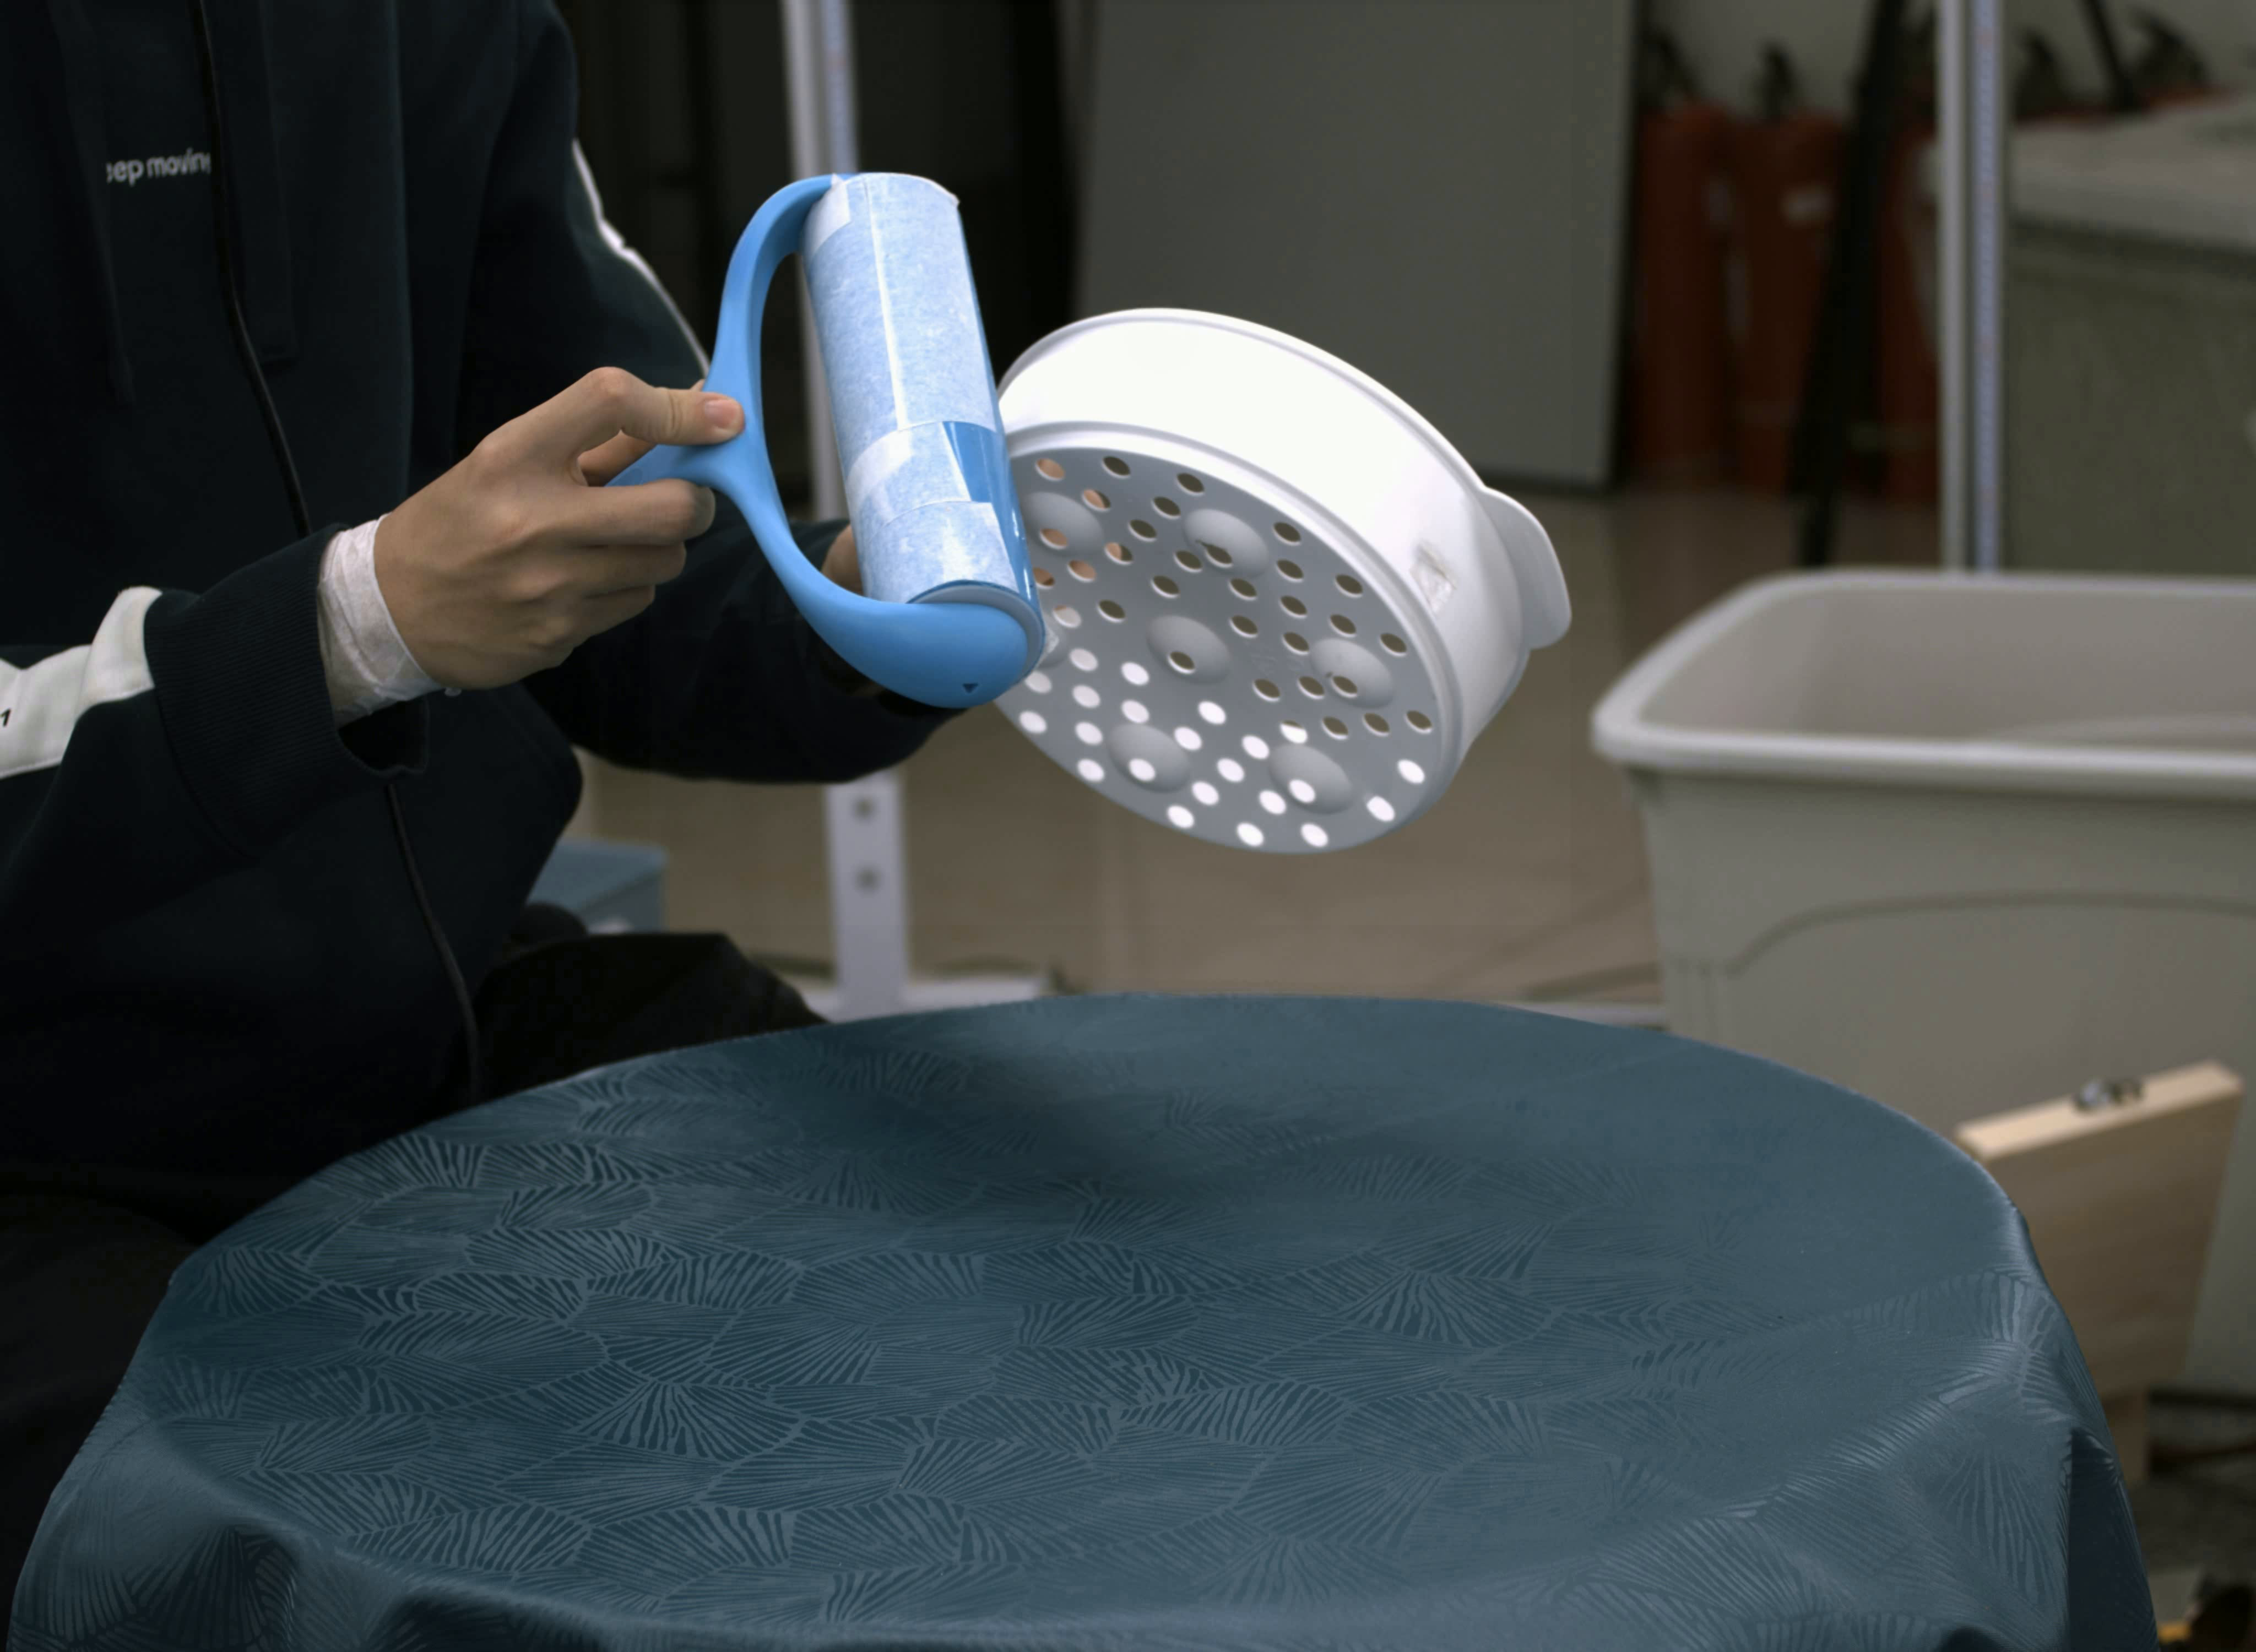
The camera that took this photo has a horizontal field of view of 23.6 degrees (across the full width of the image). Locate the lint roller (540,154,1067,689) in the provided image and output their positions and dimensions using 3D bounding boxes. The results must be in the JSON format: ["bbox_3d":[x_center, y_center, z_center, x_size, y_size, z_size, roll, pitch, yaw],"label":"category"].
[{"bbox_3d":[-0.117,-0.107,1.719,0.179,0.067,0.232,-24,48,7],"label":"lint roller"}]

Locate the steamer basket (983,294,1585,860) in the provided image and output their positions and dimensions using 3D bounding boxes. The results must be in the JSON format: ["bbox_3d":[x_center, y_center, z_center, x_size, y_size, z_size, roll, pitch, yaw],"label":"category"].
[{"bbox_3d":[0.035,-0.077,1.781,0.231,0.201,0.069,6,46,30],"label":"steamer basket"}]
